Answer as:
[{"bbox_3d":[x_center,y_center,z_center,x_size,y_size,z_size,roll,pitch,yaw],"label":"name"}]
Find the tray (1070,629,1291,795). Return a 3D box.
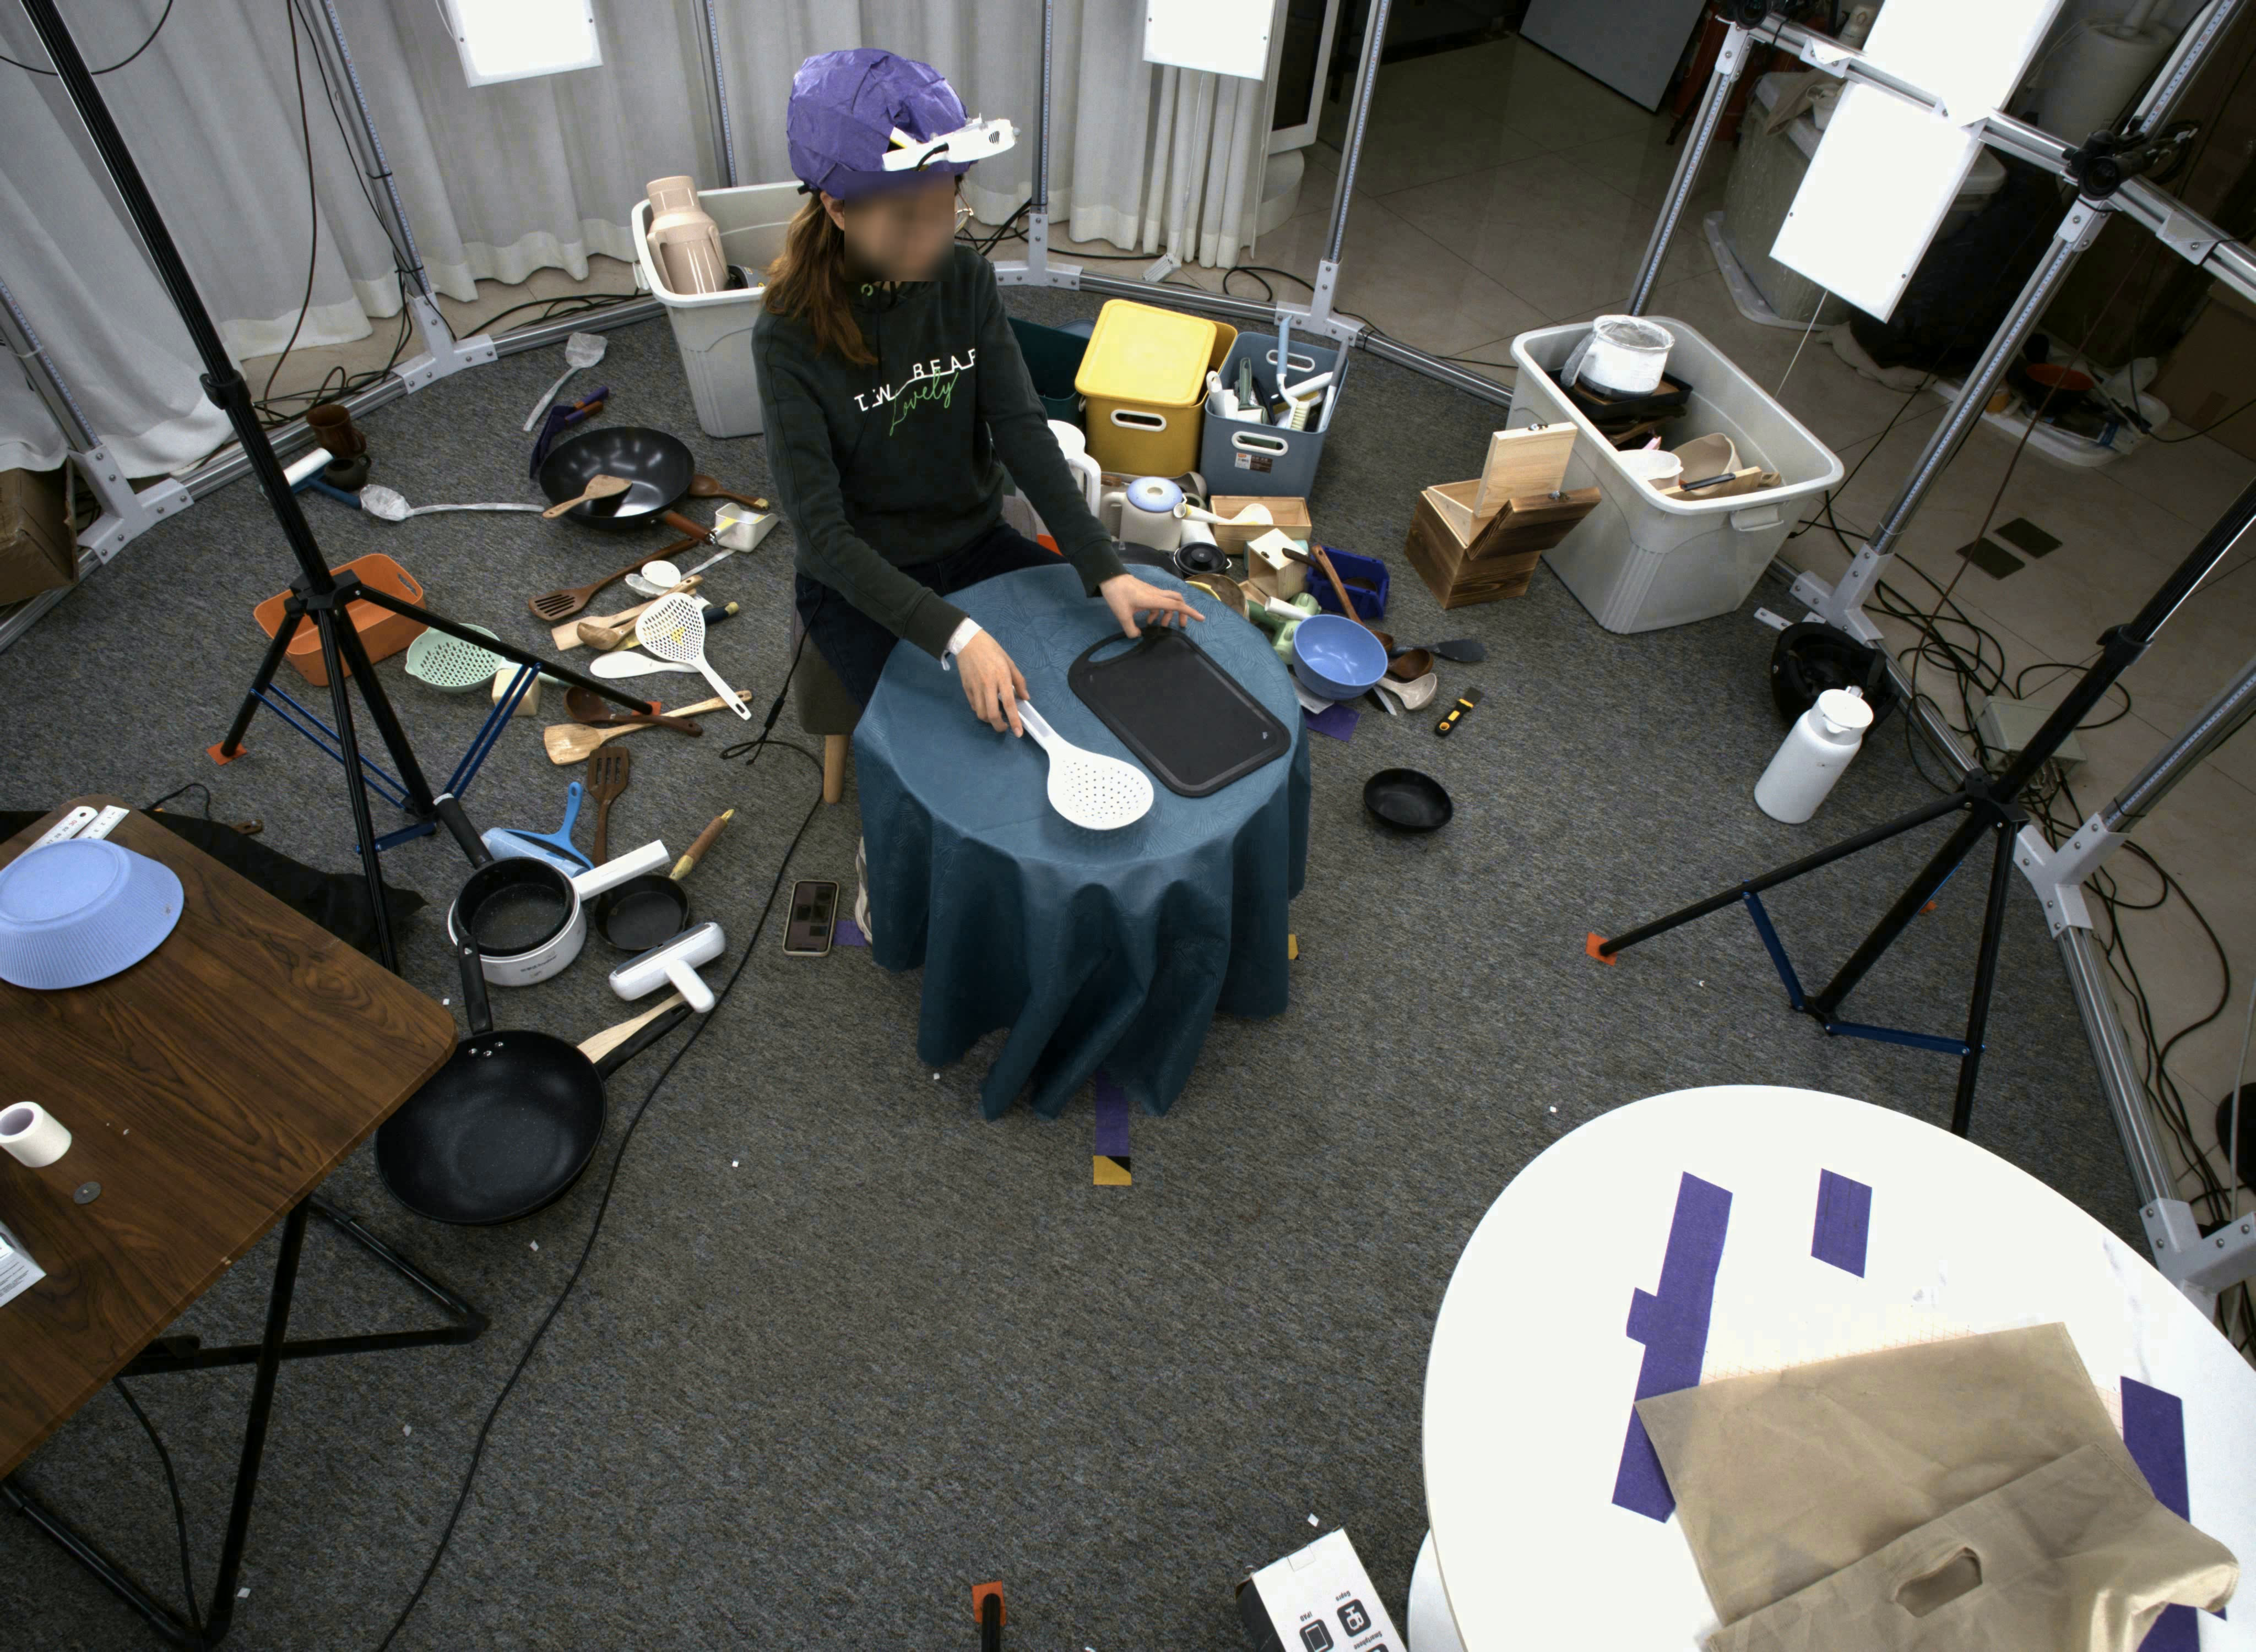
[{"bbox_3d":[0.067,-0.175,1.836,0.212,0.009,0.331,-27,55,-25],"label":"tray"}]

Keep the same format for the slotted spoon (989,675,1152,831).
[{"bbox_3d":[-0.095,-0.104,1.739,0.136,0.044,0.357,-21,52,-25],"label":"slotted spoon"}]
